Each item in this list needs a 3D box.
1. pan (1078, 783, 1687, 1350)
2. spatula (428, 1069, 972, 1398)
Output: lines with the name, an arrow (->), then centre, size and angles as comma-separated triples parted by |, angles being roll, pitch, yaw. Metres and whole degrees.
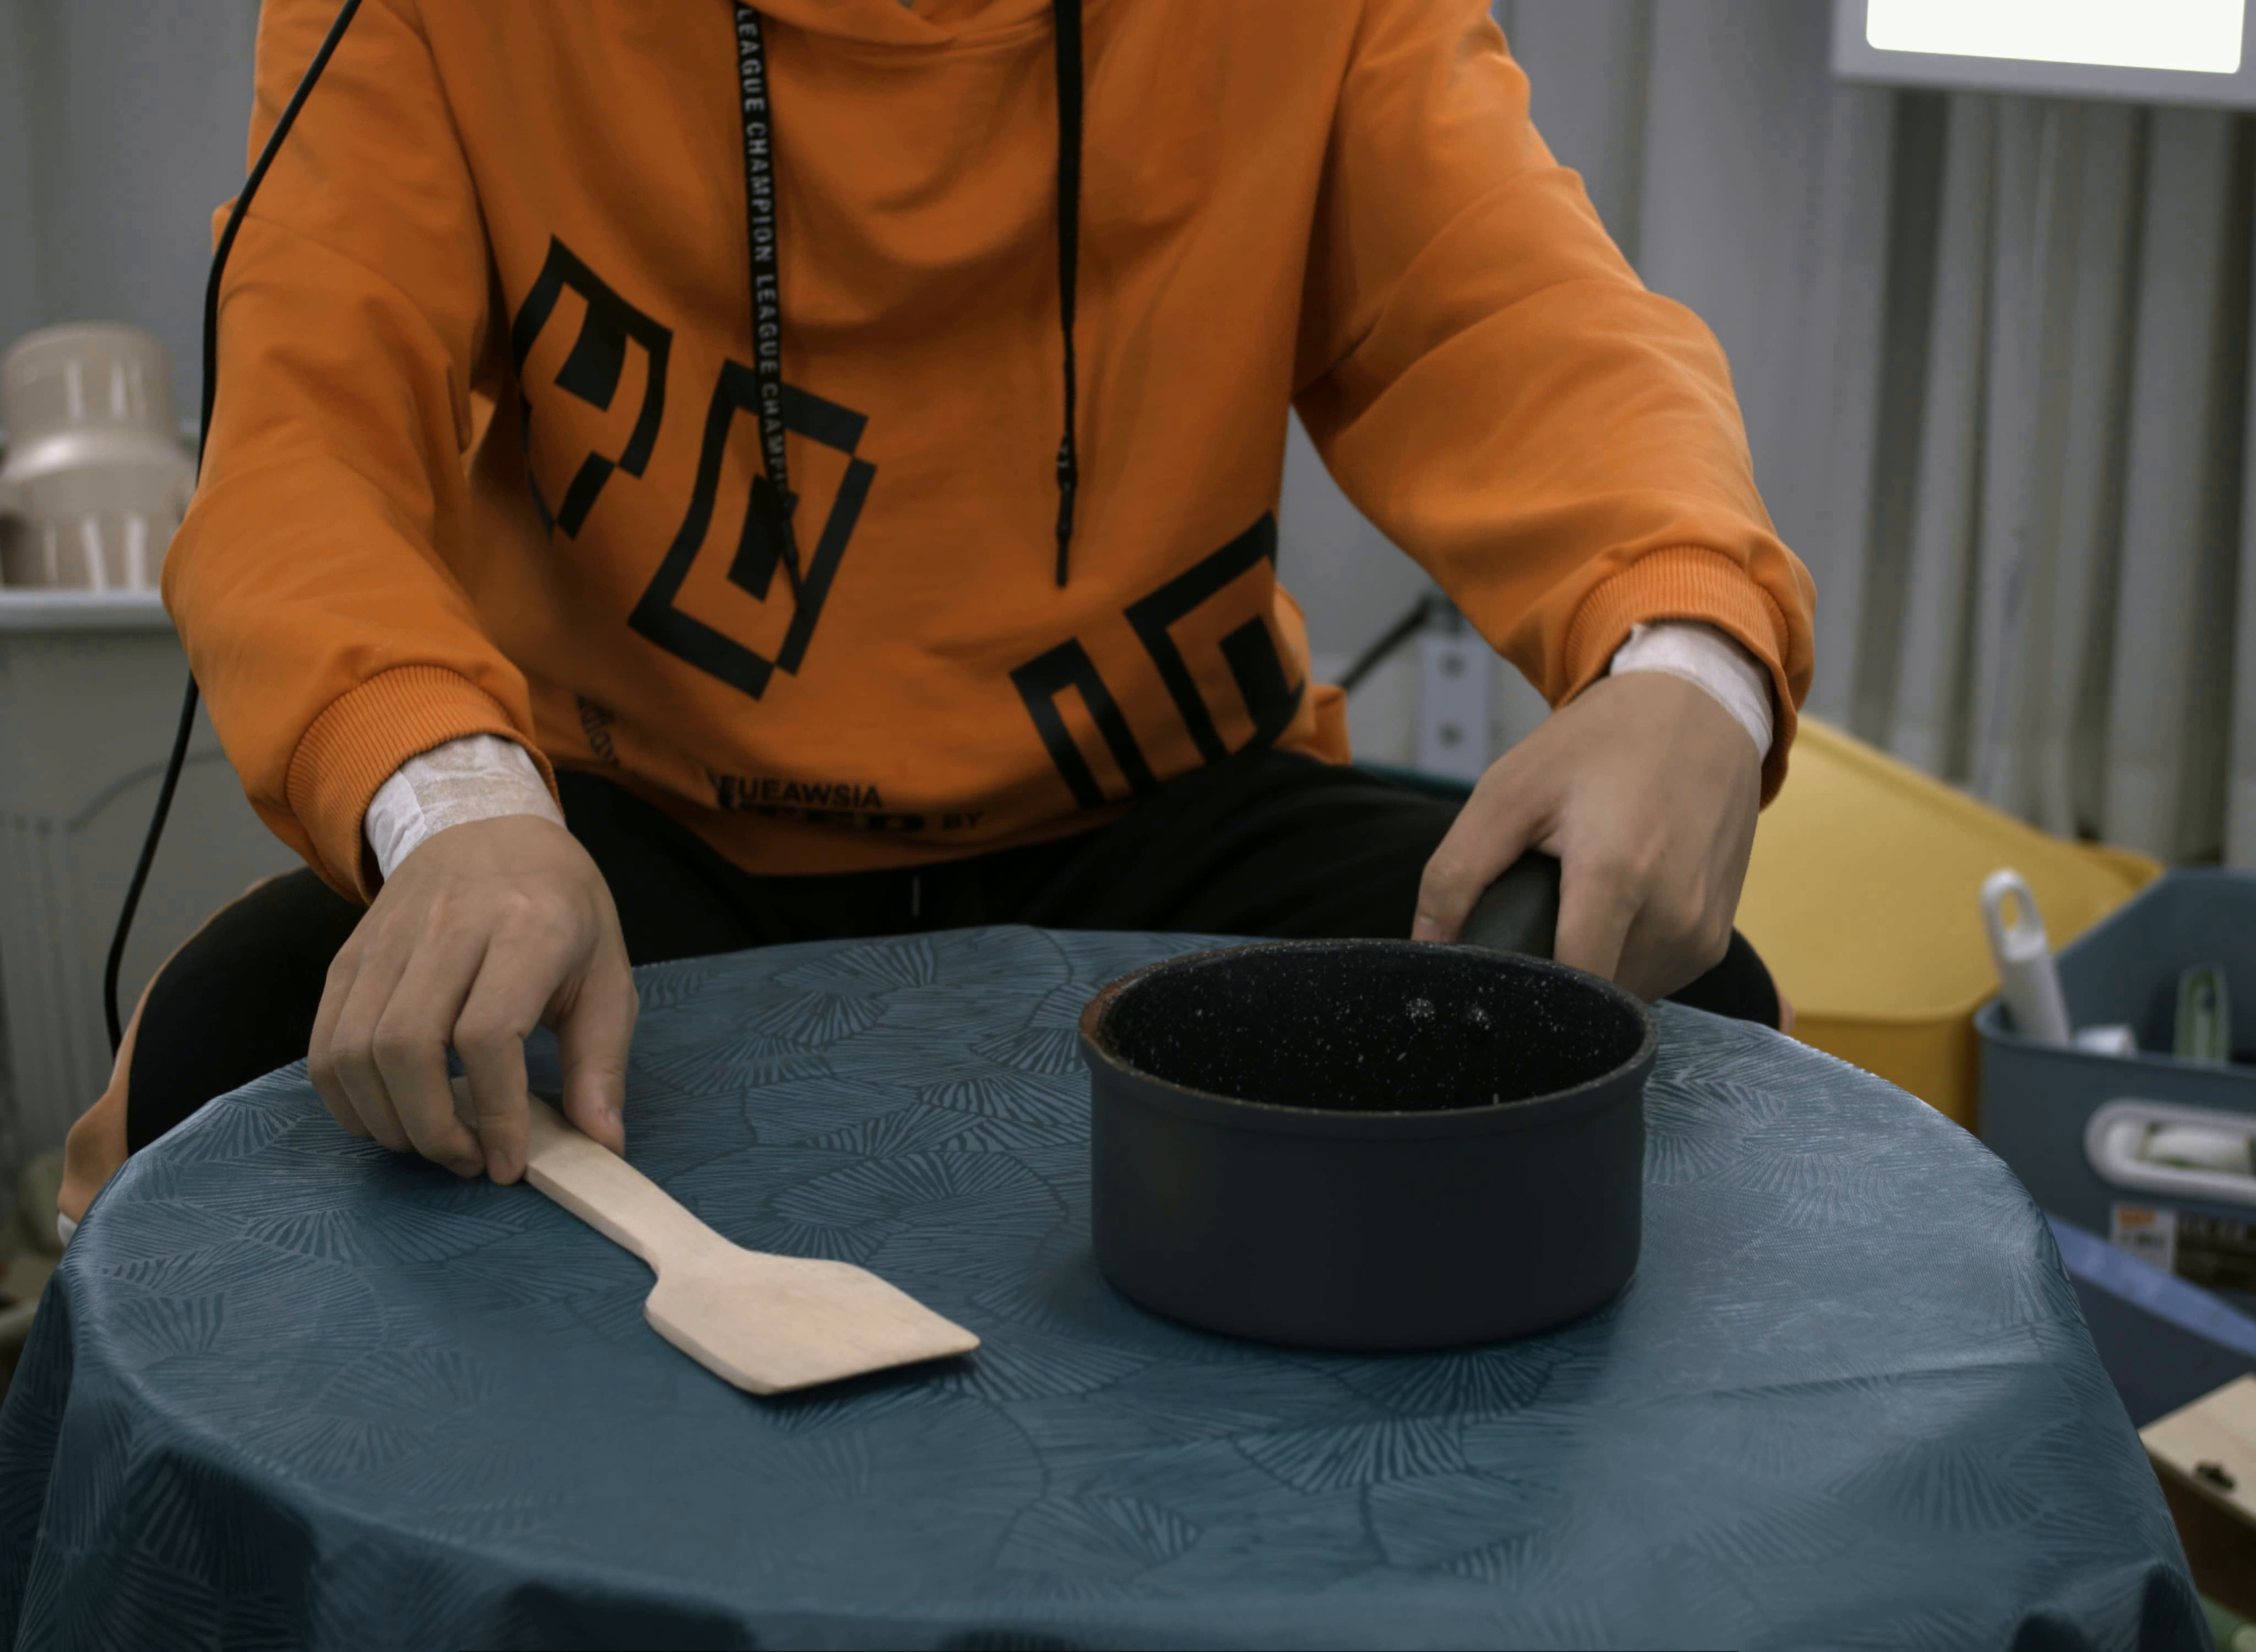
pan -> 0.102, 0.069, 1.622 | 0.170, 0.087, 0.329 | 8, 19, 22
spatula -> -0.145, 0.118, 1.579 | 0.072, 0.011, 0.289 | -12, 20, -28
